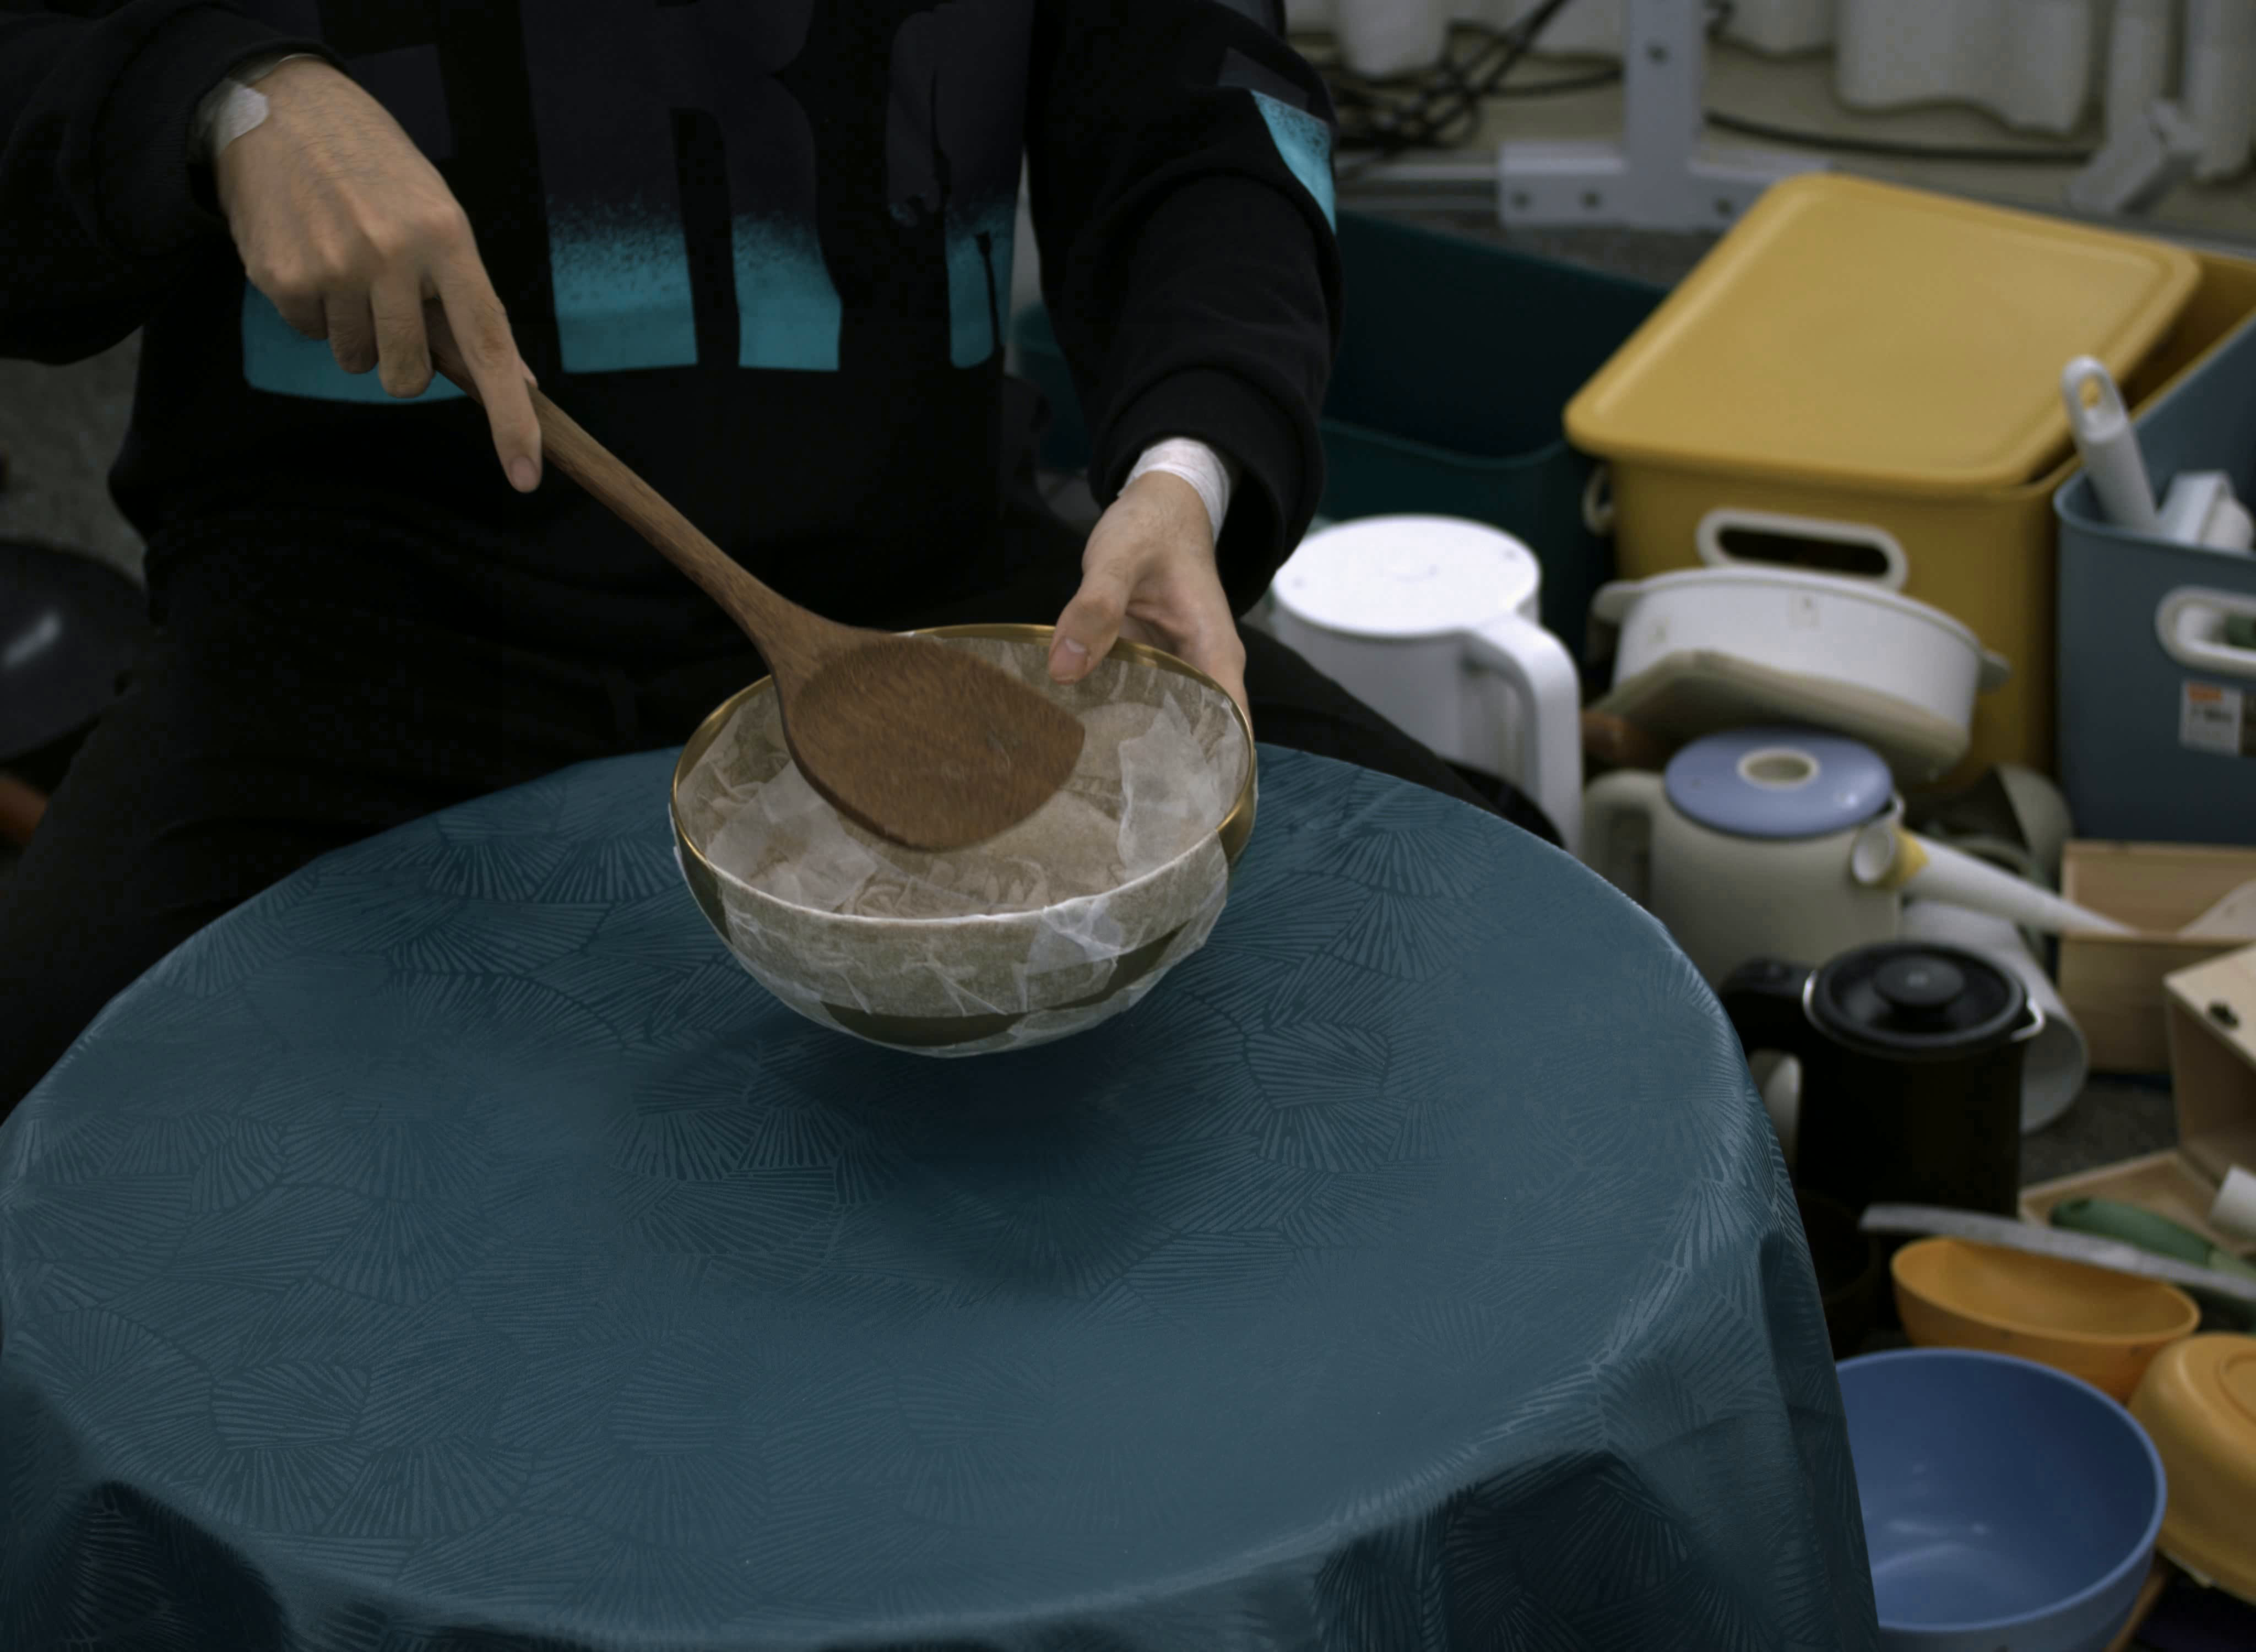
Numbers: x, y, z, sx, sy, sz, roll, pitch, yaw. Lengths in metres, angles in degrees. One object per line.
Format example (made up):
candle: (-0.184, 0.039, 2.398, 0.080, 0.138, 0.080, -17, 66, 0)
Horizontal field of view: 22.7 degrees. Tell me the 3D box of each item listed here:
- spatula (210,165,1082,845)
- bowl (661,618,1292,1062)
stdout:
spatula: (-0.178, -0.119, 1.942, 0.387, 0.015, 0.097, 39, 48, 17)
bowl: (-0.049, 0.017, 1.914, 0.213, 0.093, 0.218, -4, 28, 2)
